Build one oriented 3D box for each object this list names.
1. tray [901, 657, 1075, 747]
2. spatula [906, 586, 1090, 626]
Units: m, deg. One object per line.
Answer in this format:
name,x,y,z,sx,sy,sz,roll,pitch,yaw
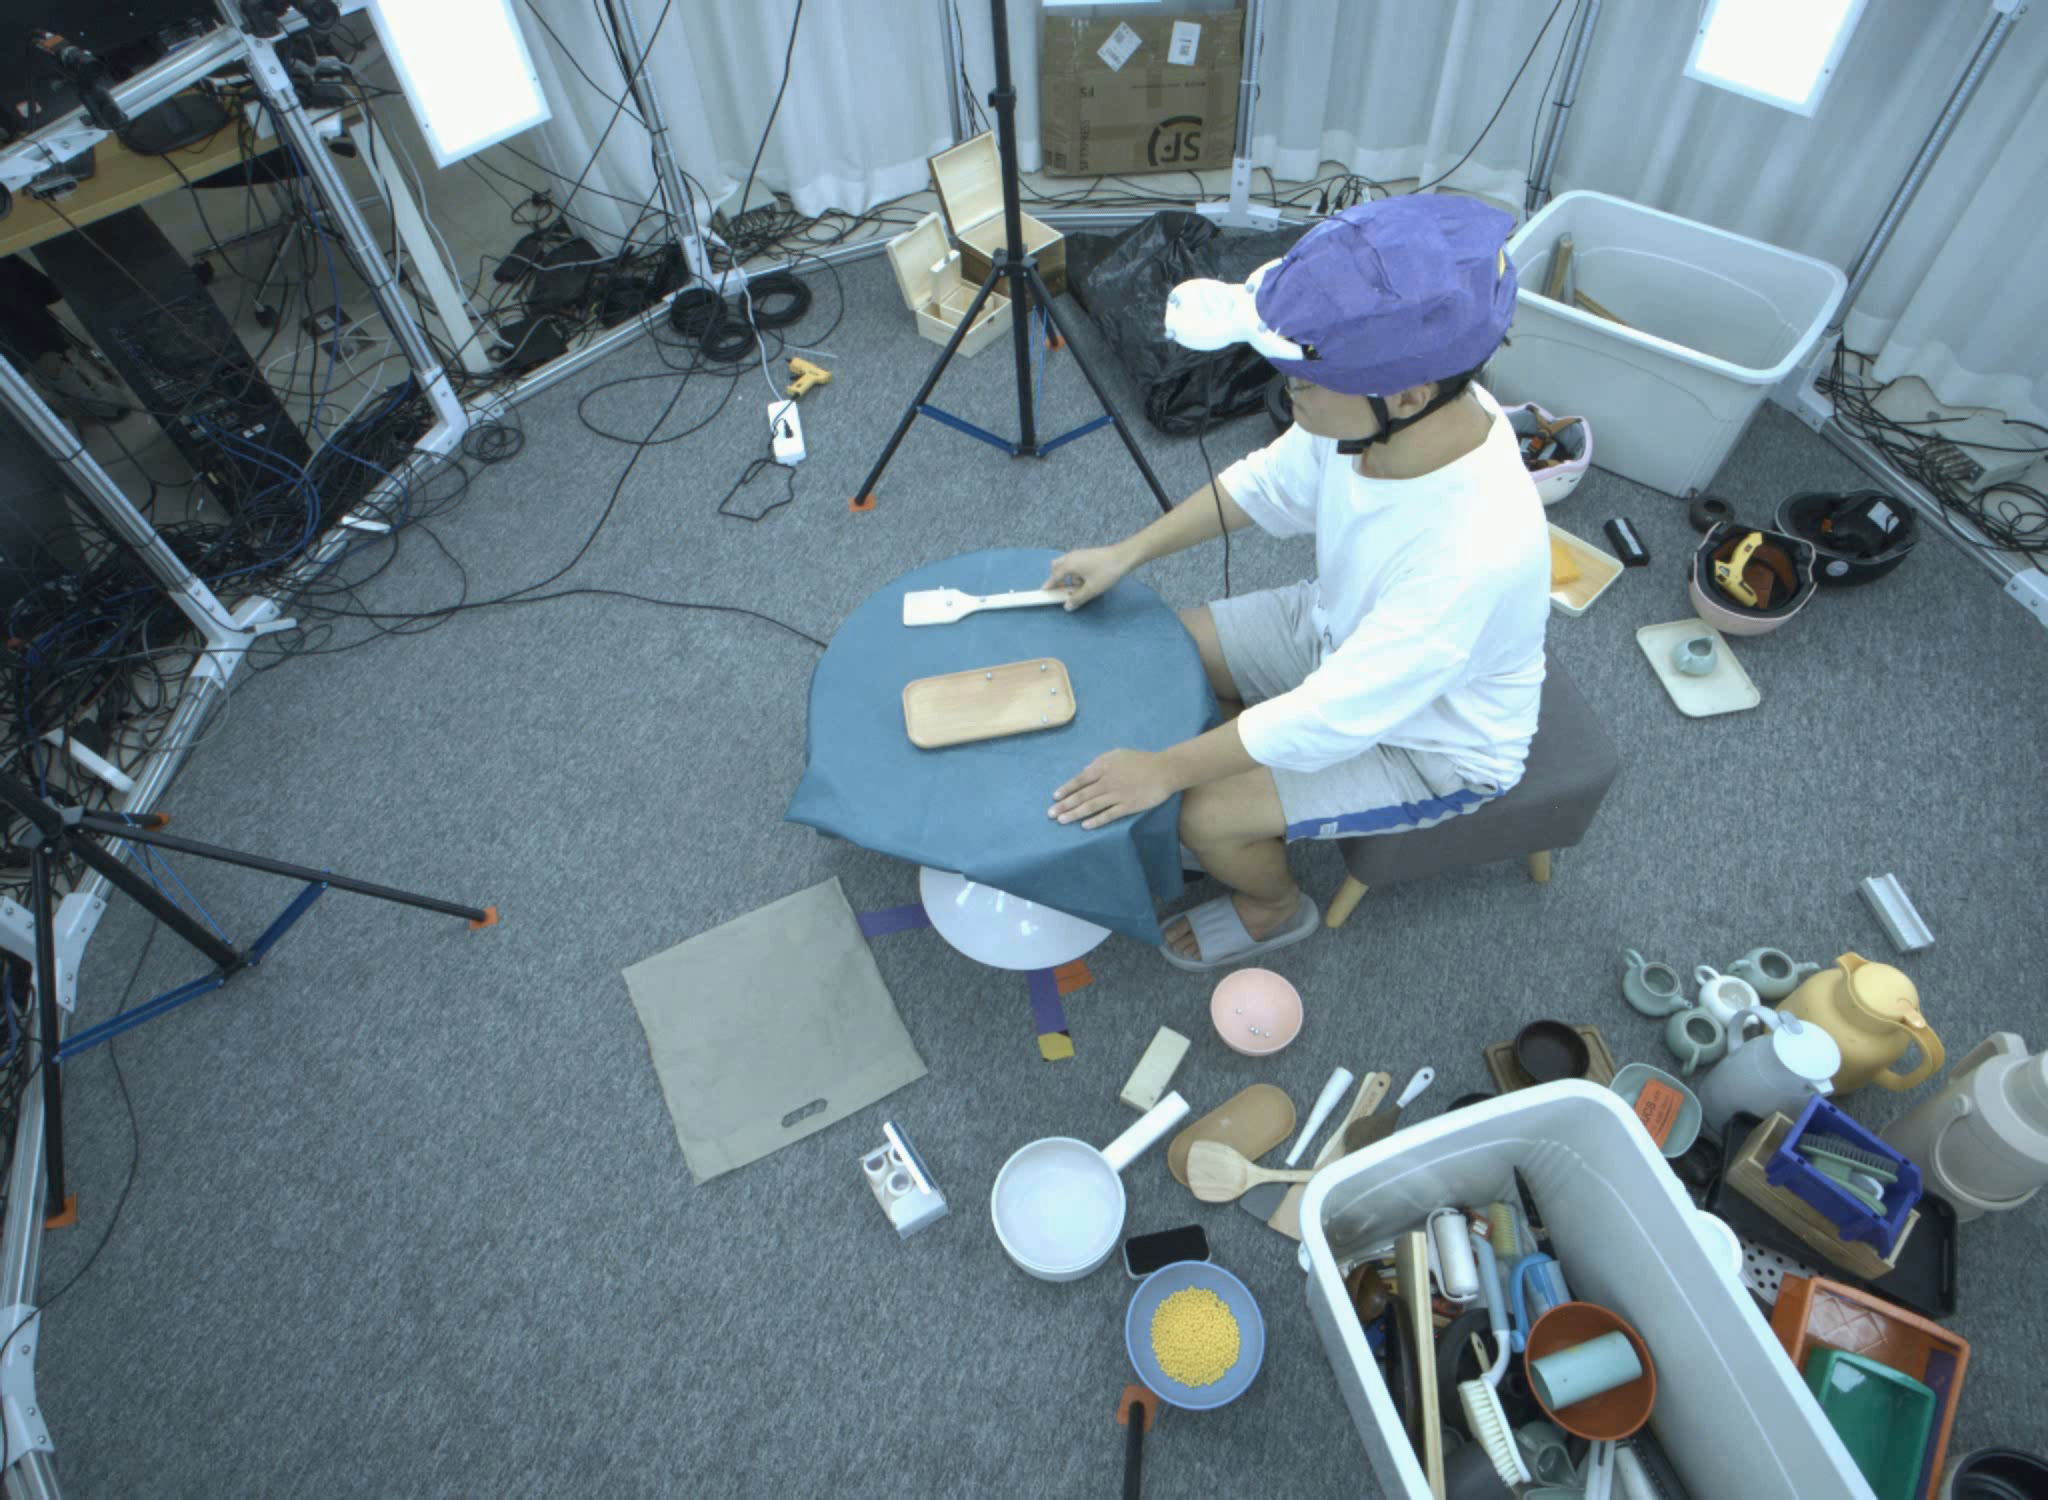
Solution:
tray,-0.054,-0.071,1.827,0.251,0.023,0.128,-9,52,-4
spatula,-0.042,-0.236,1.944,0.293,0.011,0.071,-6,54,2
